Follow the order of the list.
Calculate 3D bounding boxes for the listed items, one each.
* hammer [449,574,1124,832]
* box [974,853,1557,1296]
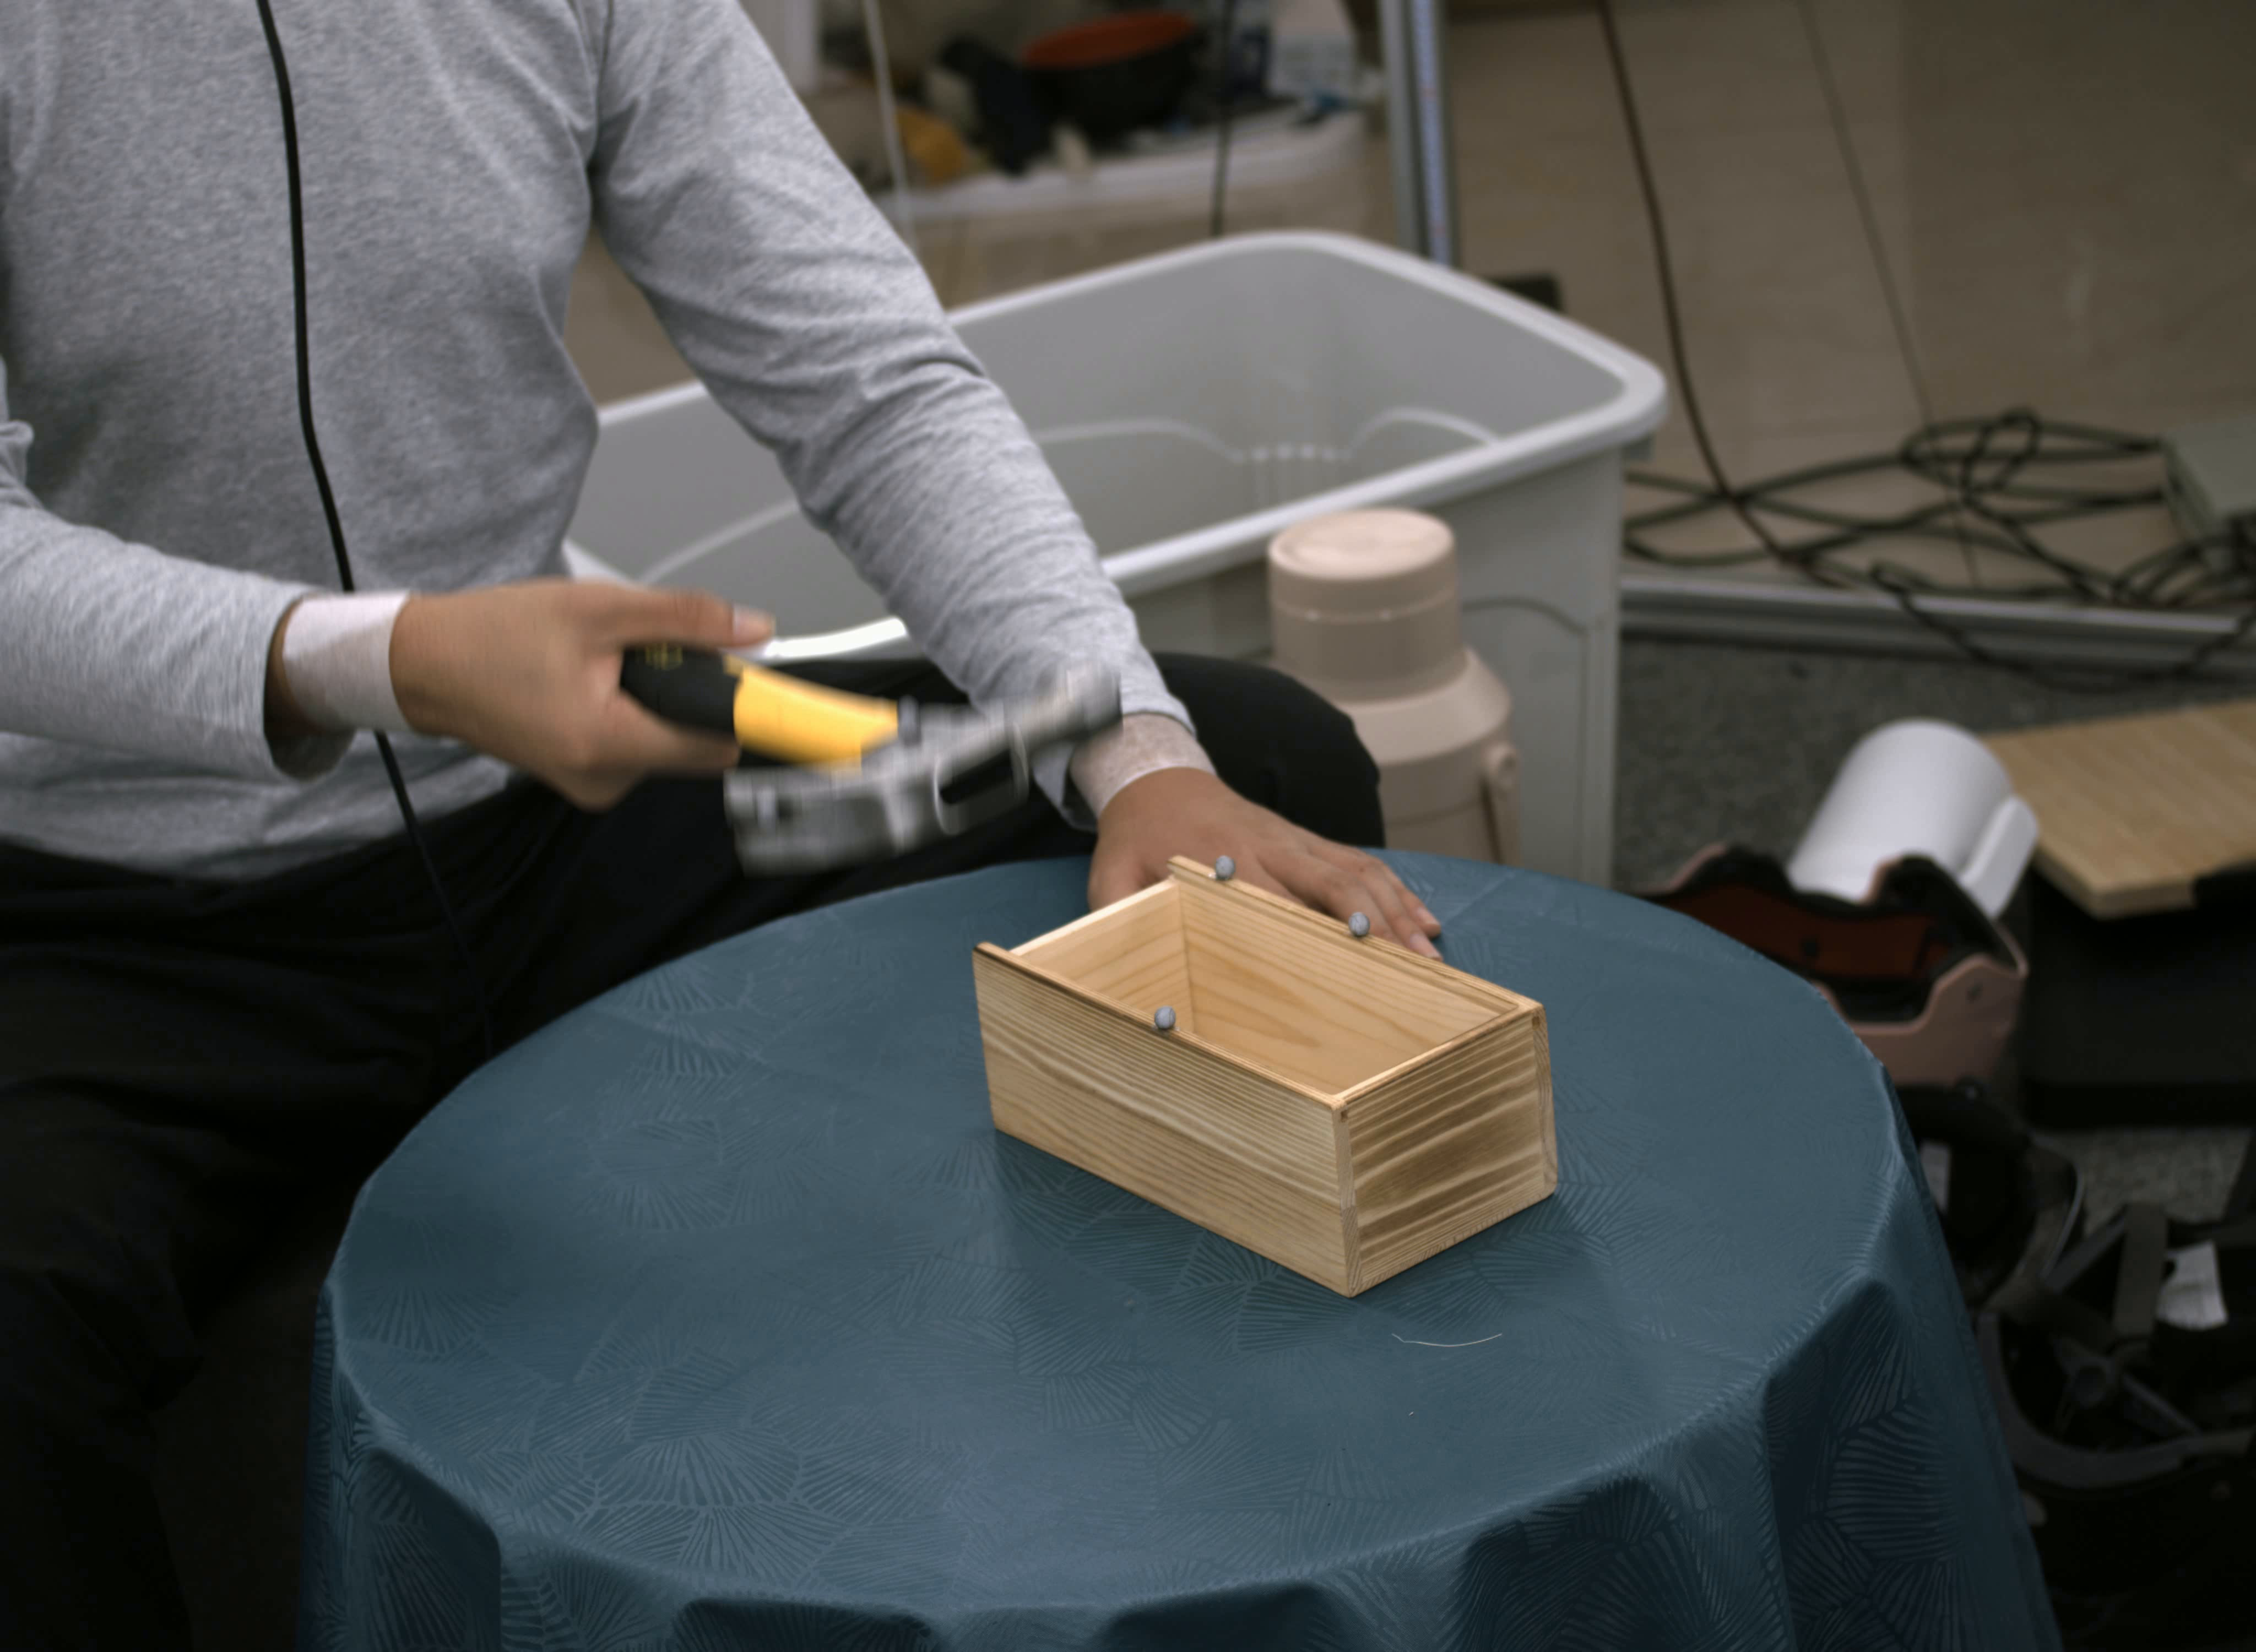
[{"bbox_3d":[-0.150,-0.057,2.054,0.130,0.033,0.336,-29,25,-29],"label":"hammer"},{"bbox_3d":[0.051,0.091,2.144,0.107,0.081,0.209,-25,31,-33],"label":"box"}]
